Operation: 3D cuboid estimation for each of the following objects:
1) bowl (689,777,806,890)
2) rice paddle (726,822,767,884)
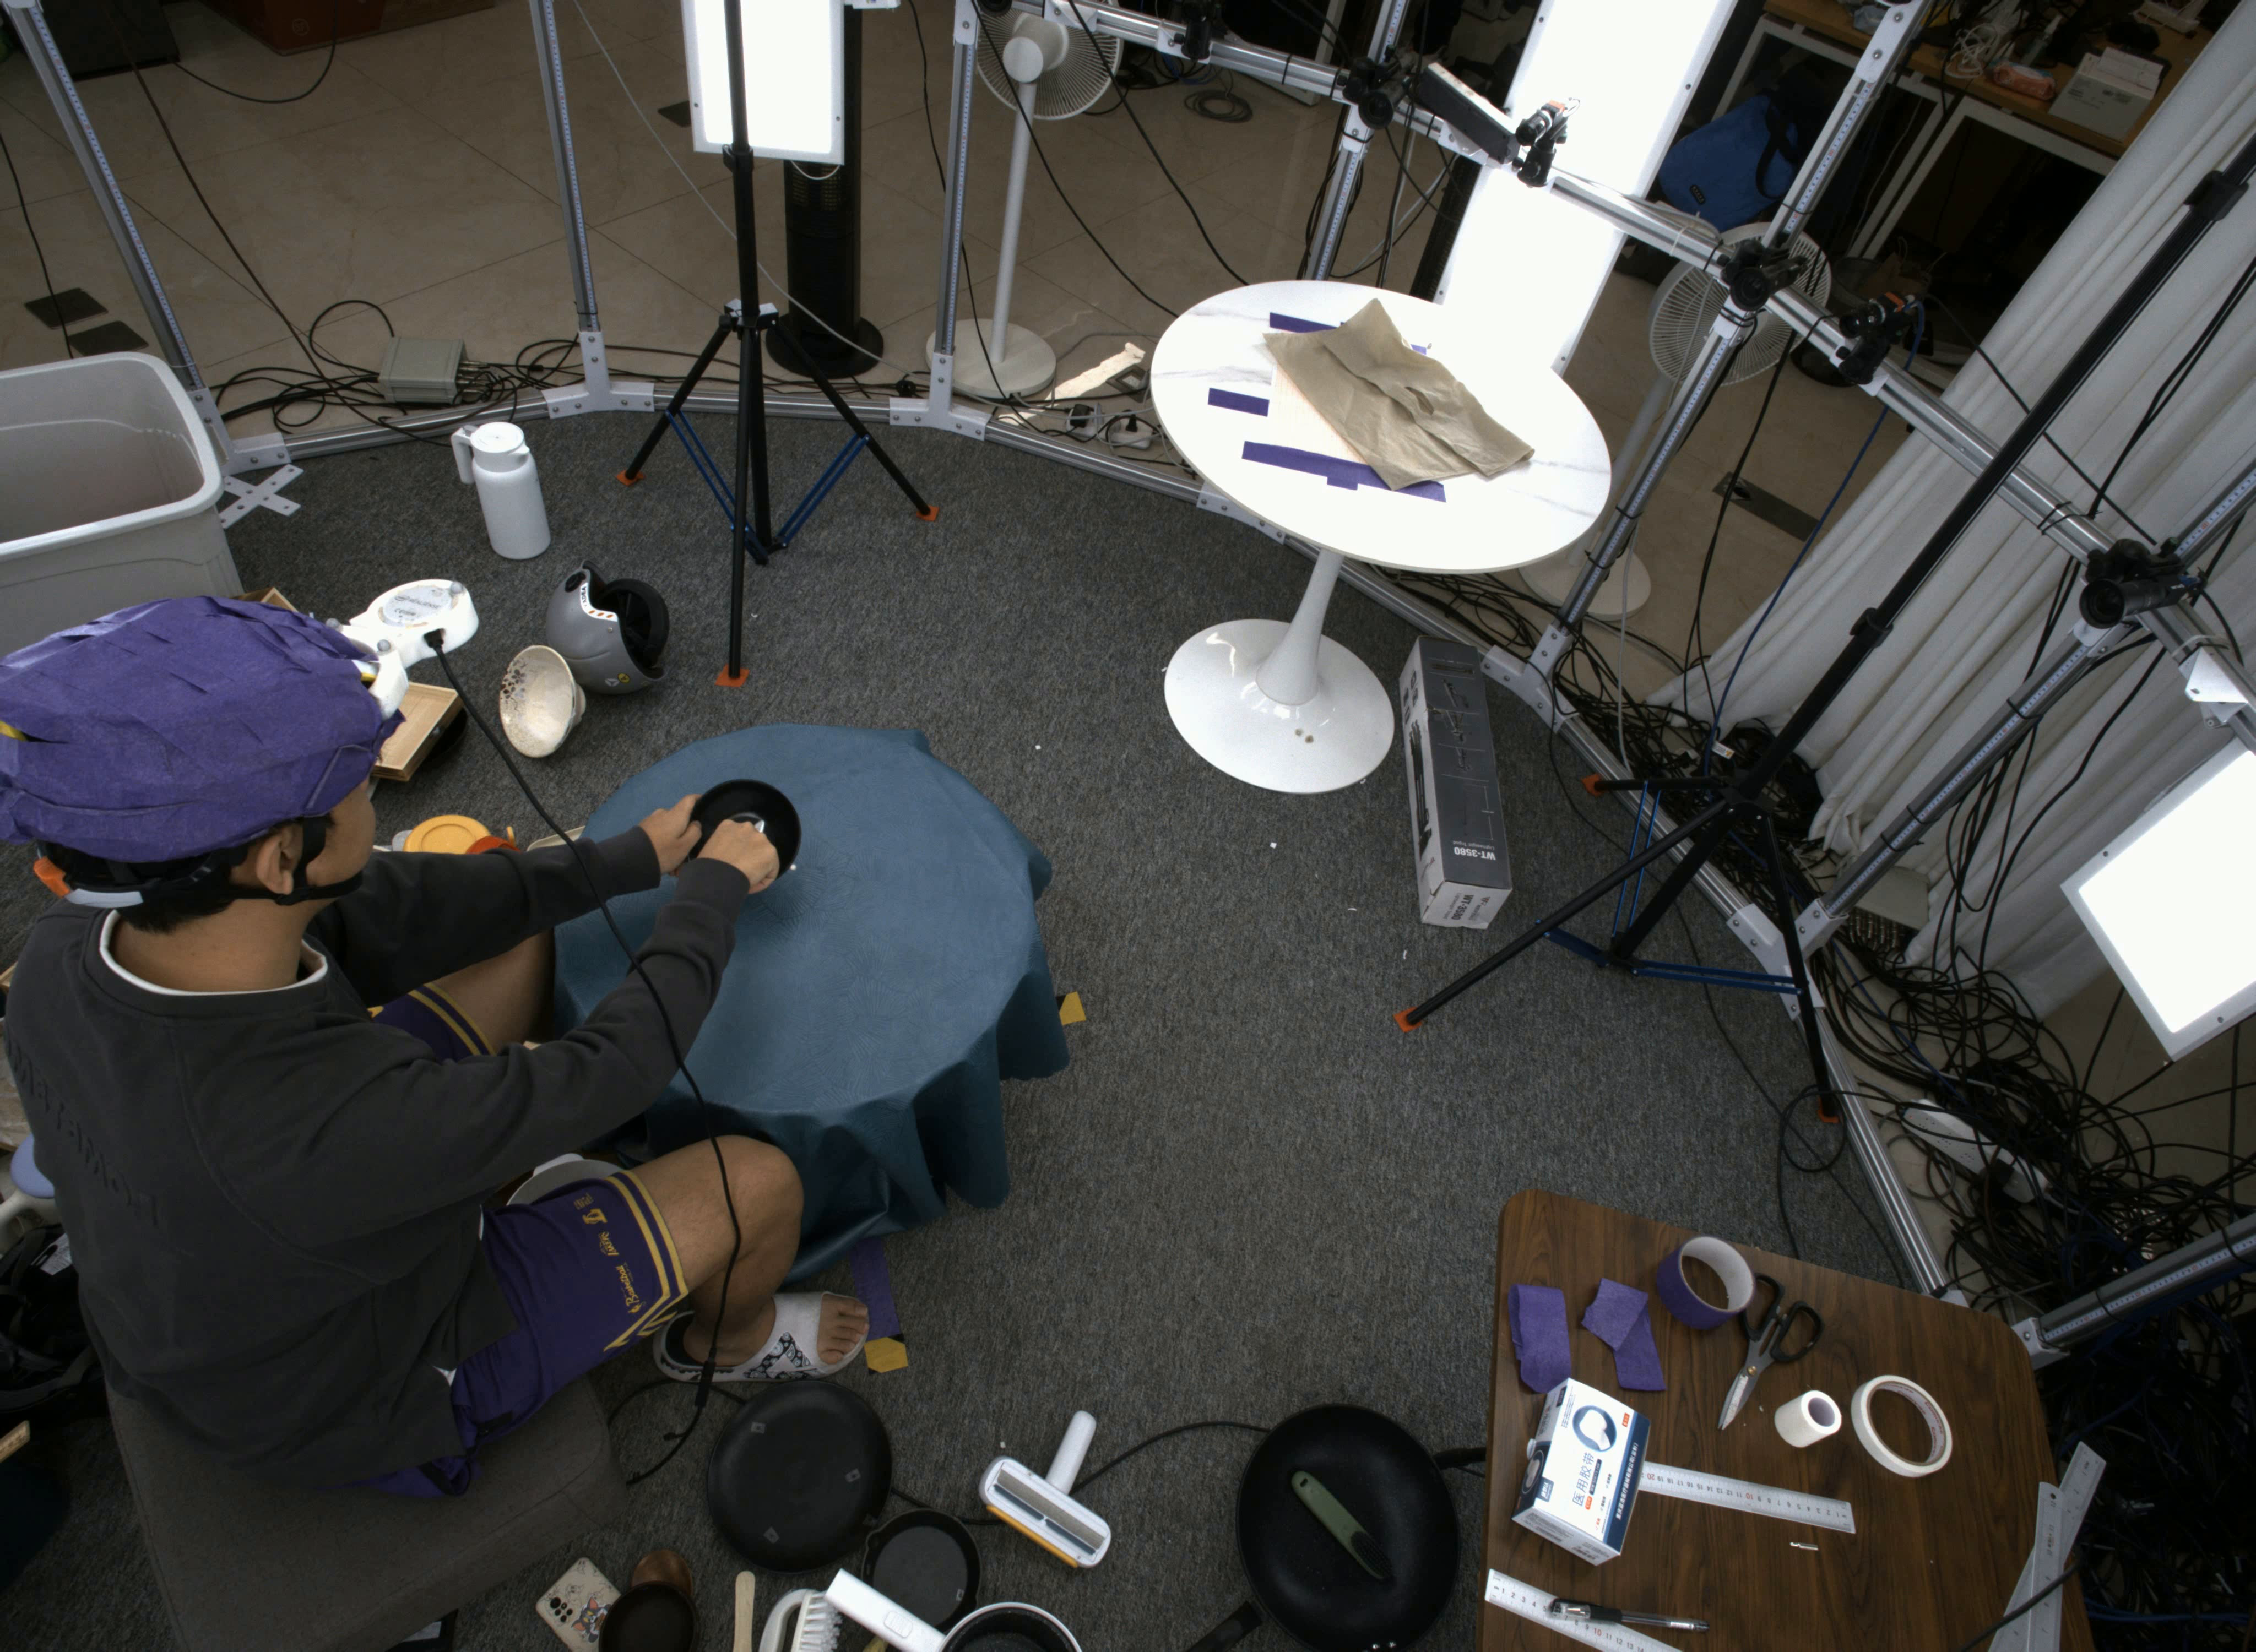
[{"bbox_3d":[-0.469,0.013,1.598,0.140,0.049,0.140,3,79,-14],"label":"bowl"},{"bbox_3d":[-0.446,0.029,1.518,0.069,0.200,0.030,-45,110,-5],"label":"rice paddle"}]
